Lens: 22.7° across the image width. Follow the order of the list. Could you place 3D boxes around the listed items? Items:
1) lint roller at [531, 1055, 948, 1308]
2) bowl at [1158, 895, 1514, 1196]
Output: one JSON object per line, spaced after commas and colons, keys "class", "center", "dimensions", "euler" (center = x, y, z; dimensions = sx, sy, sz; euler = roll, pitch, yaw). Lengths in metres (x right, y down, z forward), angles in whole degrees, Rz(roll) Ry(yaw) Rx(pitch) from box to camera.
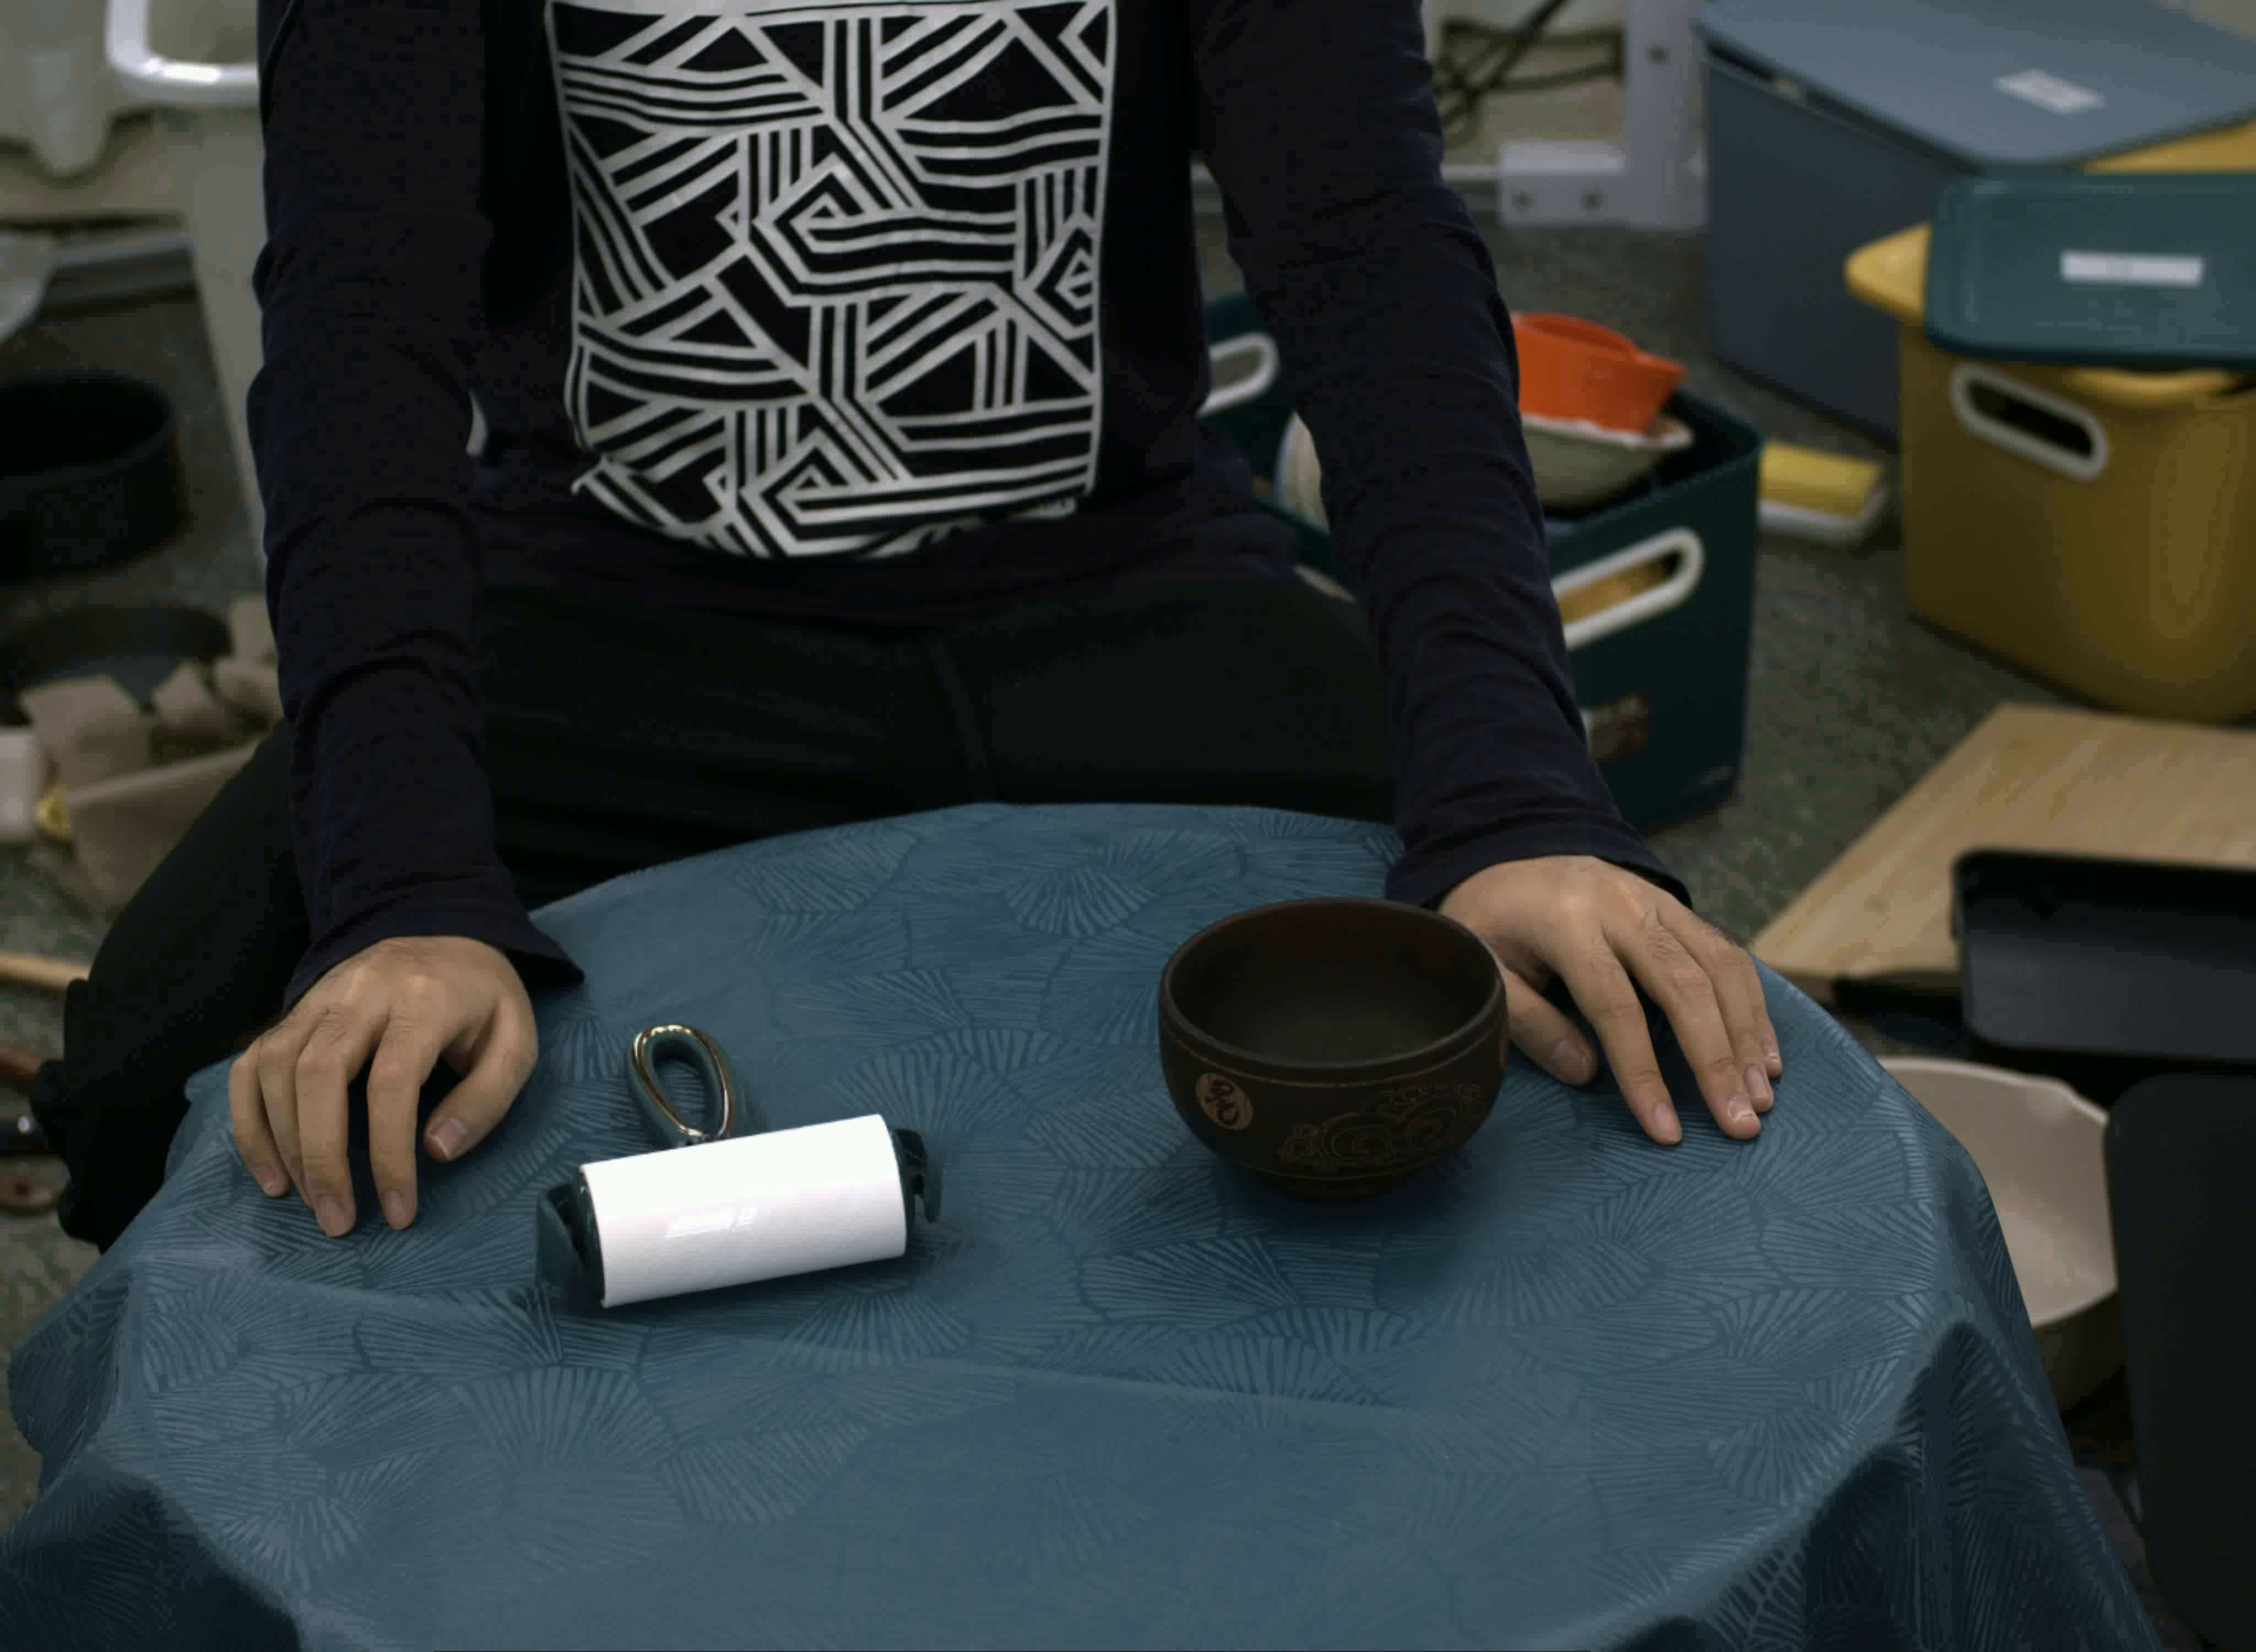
{"class": "lint roller", "center": [-0.143, 0.099, 1.876], "dimensions": [0.134, 0.048, 0.182], "euler": [-9, 25, -12]}
{"class": "bowl", "center": [0.070, 0.079, 1.859], "dimensions": [0.117, 0.069, 0.120], "euler": [-4, 25, 2]}
